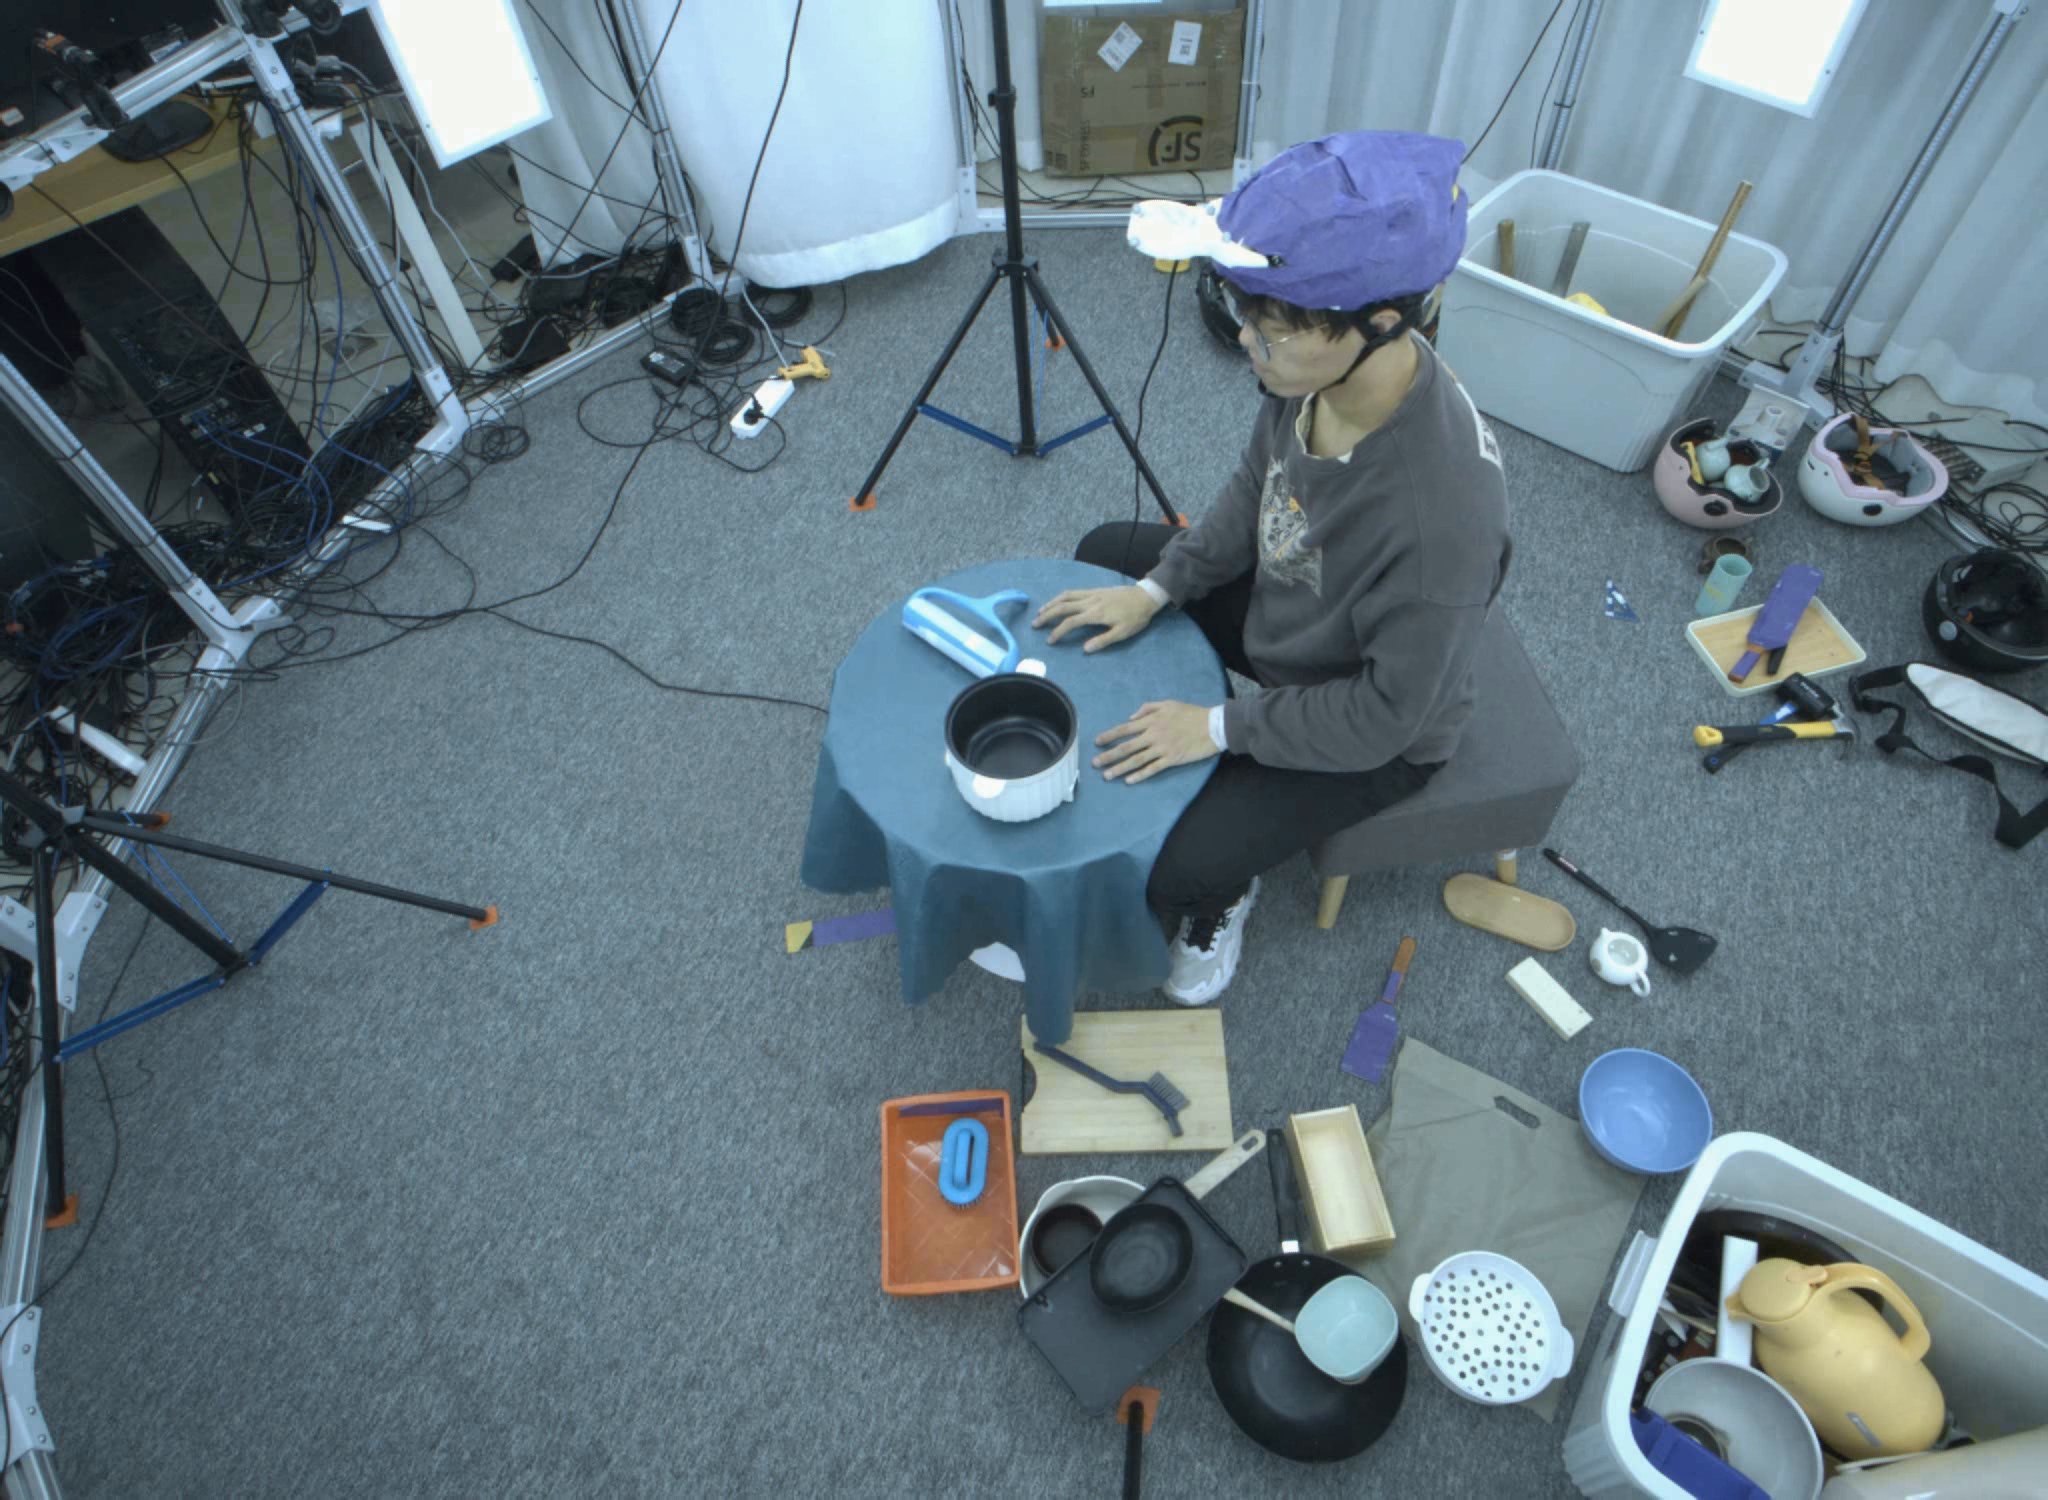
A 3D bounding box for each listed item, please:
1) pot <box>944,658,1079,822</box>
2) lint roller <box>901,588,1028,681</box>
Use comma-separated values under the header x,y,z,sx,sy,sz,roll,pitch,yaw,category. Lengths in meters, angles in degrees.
x,y,z,sx,sy,sz,roll,pitch,yaw,category
-0.019,0.003,1.697,0.189,0.144,0.239,13,54,8,pot
-0.064,-0.205,1.899,0.225,0.069,0.181,32,62,24,lint roller
